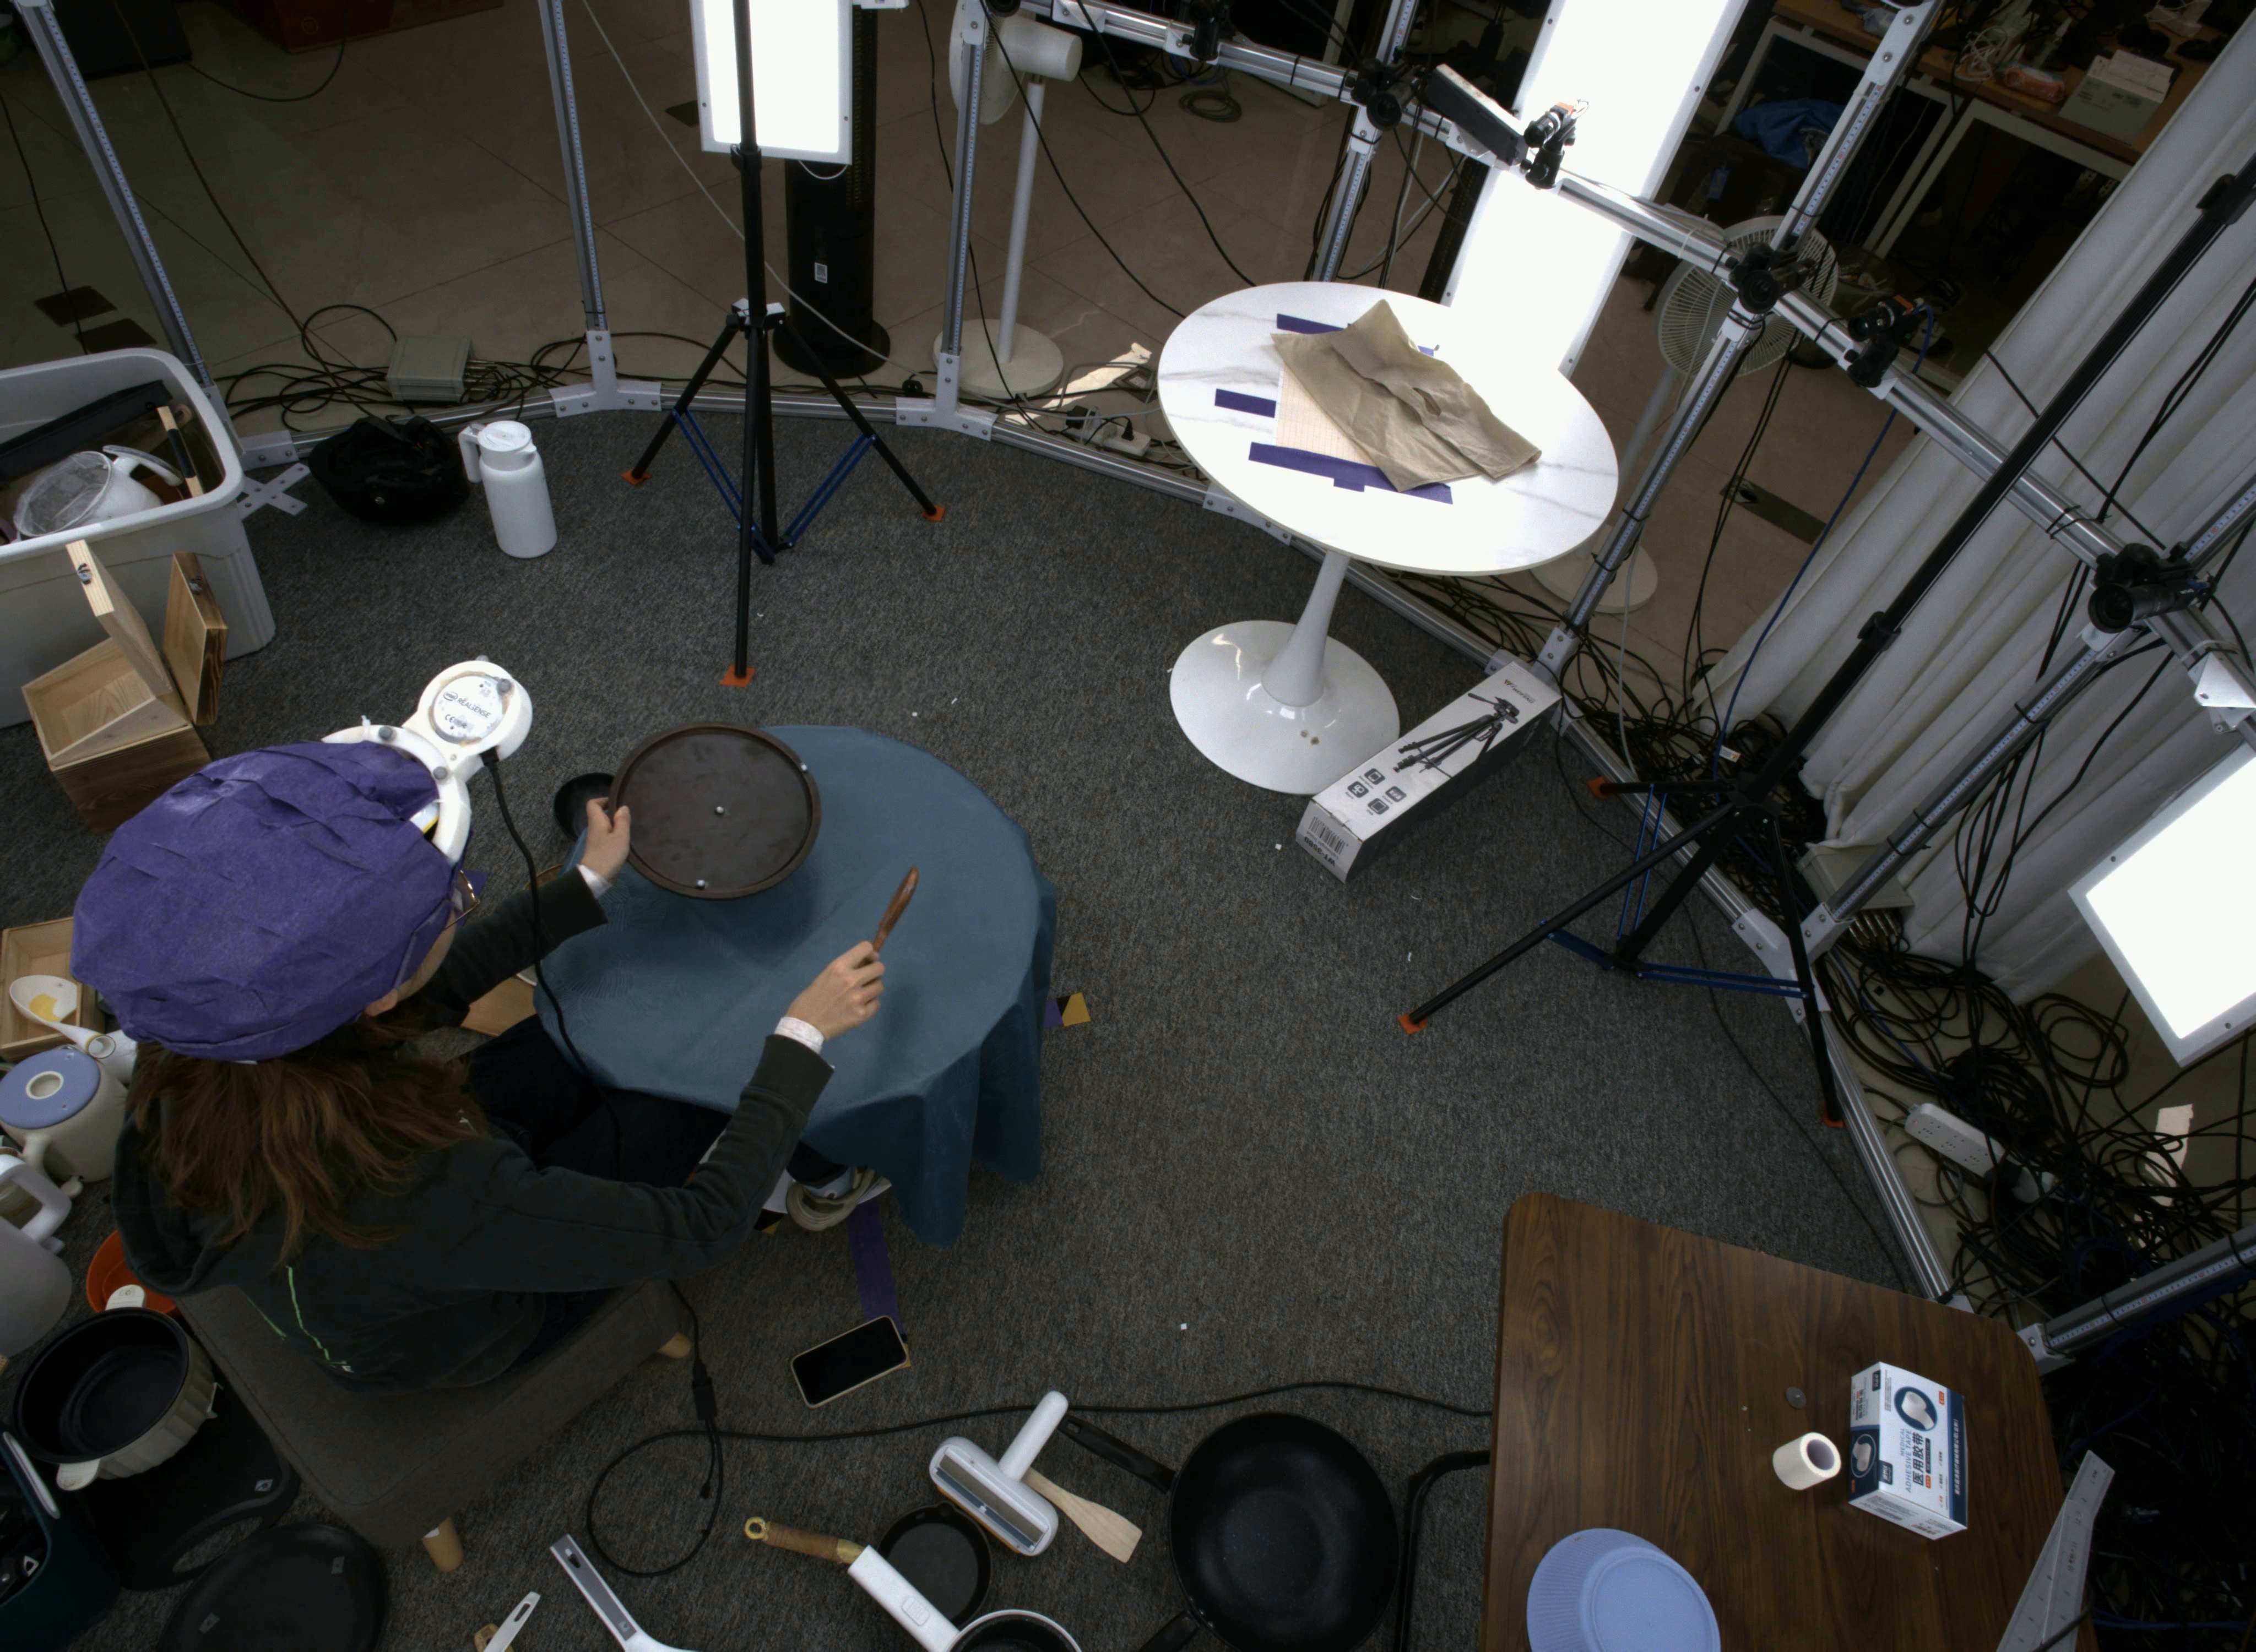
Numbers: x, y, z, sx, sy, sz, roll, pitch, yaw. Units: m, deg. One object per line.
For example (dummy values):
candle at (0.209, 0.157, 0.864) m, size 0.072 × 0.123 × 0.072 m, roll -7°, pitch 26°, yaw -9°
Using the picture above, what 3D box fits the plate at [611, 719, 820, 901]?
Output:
plate at (-0.505, -0.022, 1.580) m, size 0.256 × 0.029 × 0.251 m, roll 11°, pitch 58°, yaw -15°

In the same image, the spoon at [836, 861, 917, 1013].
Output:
spoon at (-0.284, 0.123, 1.480) m, size 0.017 × 0.075 × 0.213 m, roll 33°, pitch 46°, yaw -14°
